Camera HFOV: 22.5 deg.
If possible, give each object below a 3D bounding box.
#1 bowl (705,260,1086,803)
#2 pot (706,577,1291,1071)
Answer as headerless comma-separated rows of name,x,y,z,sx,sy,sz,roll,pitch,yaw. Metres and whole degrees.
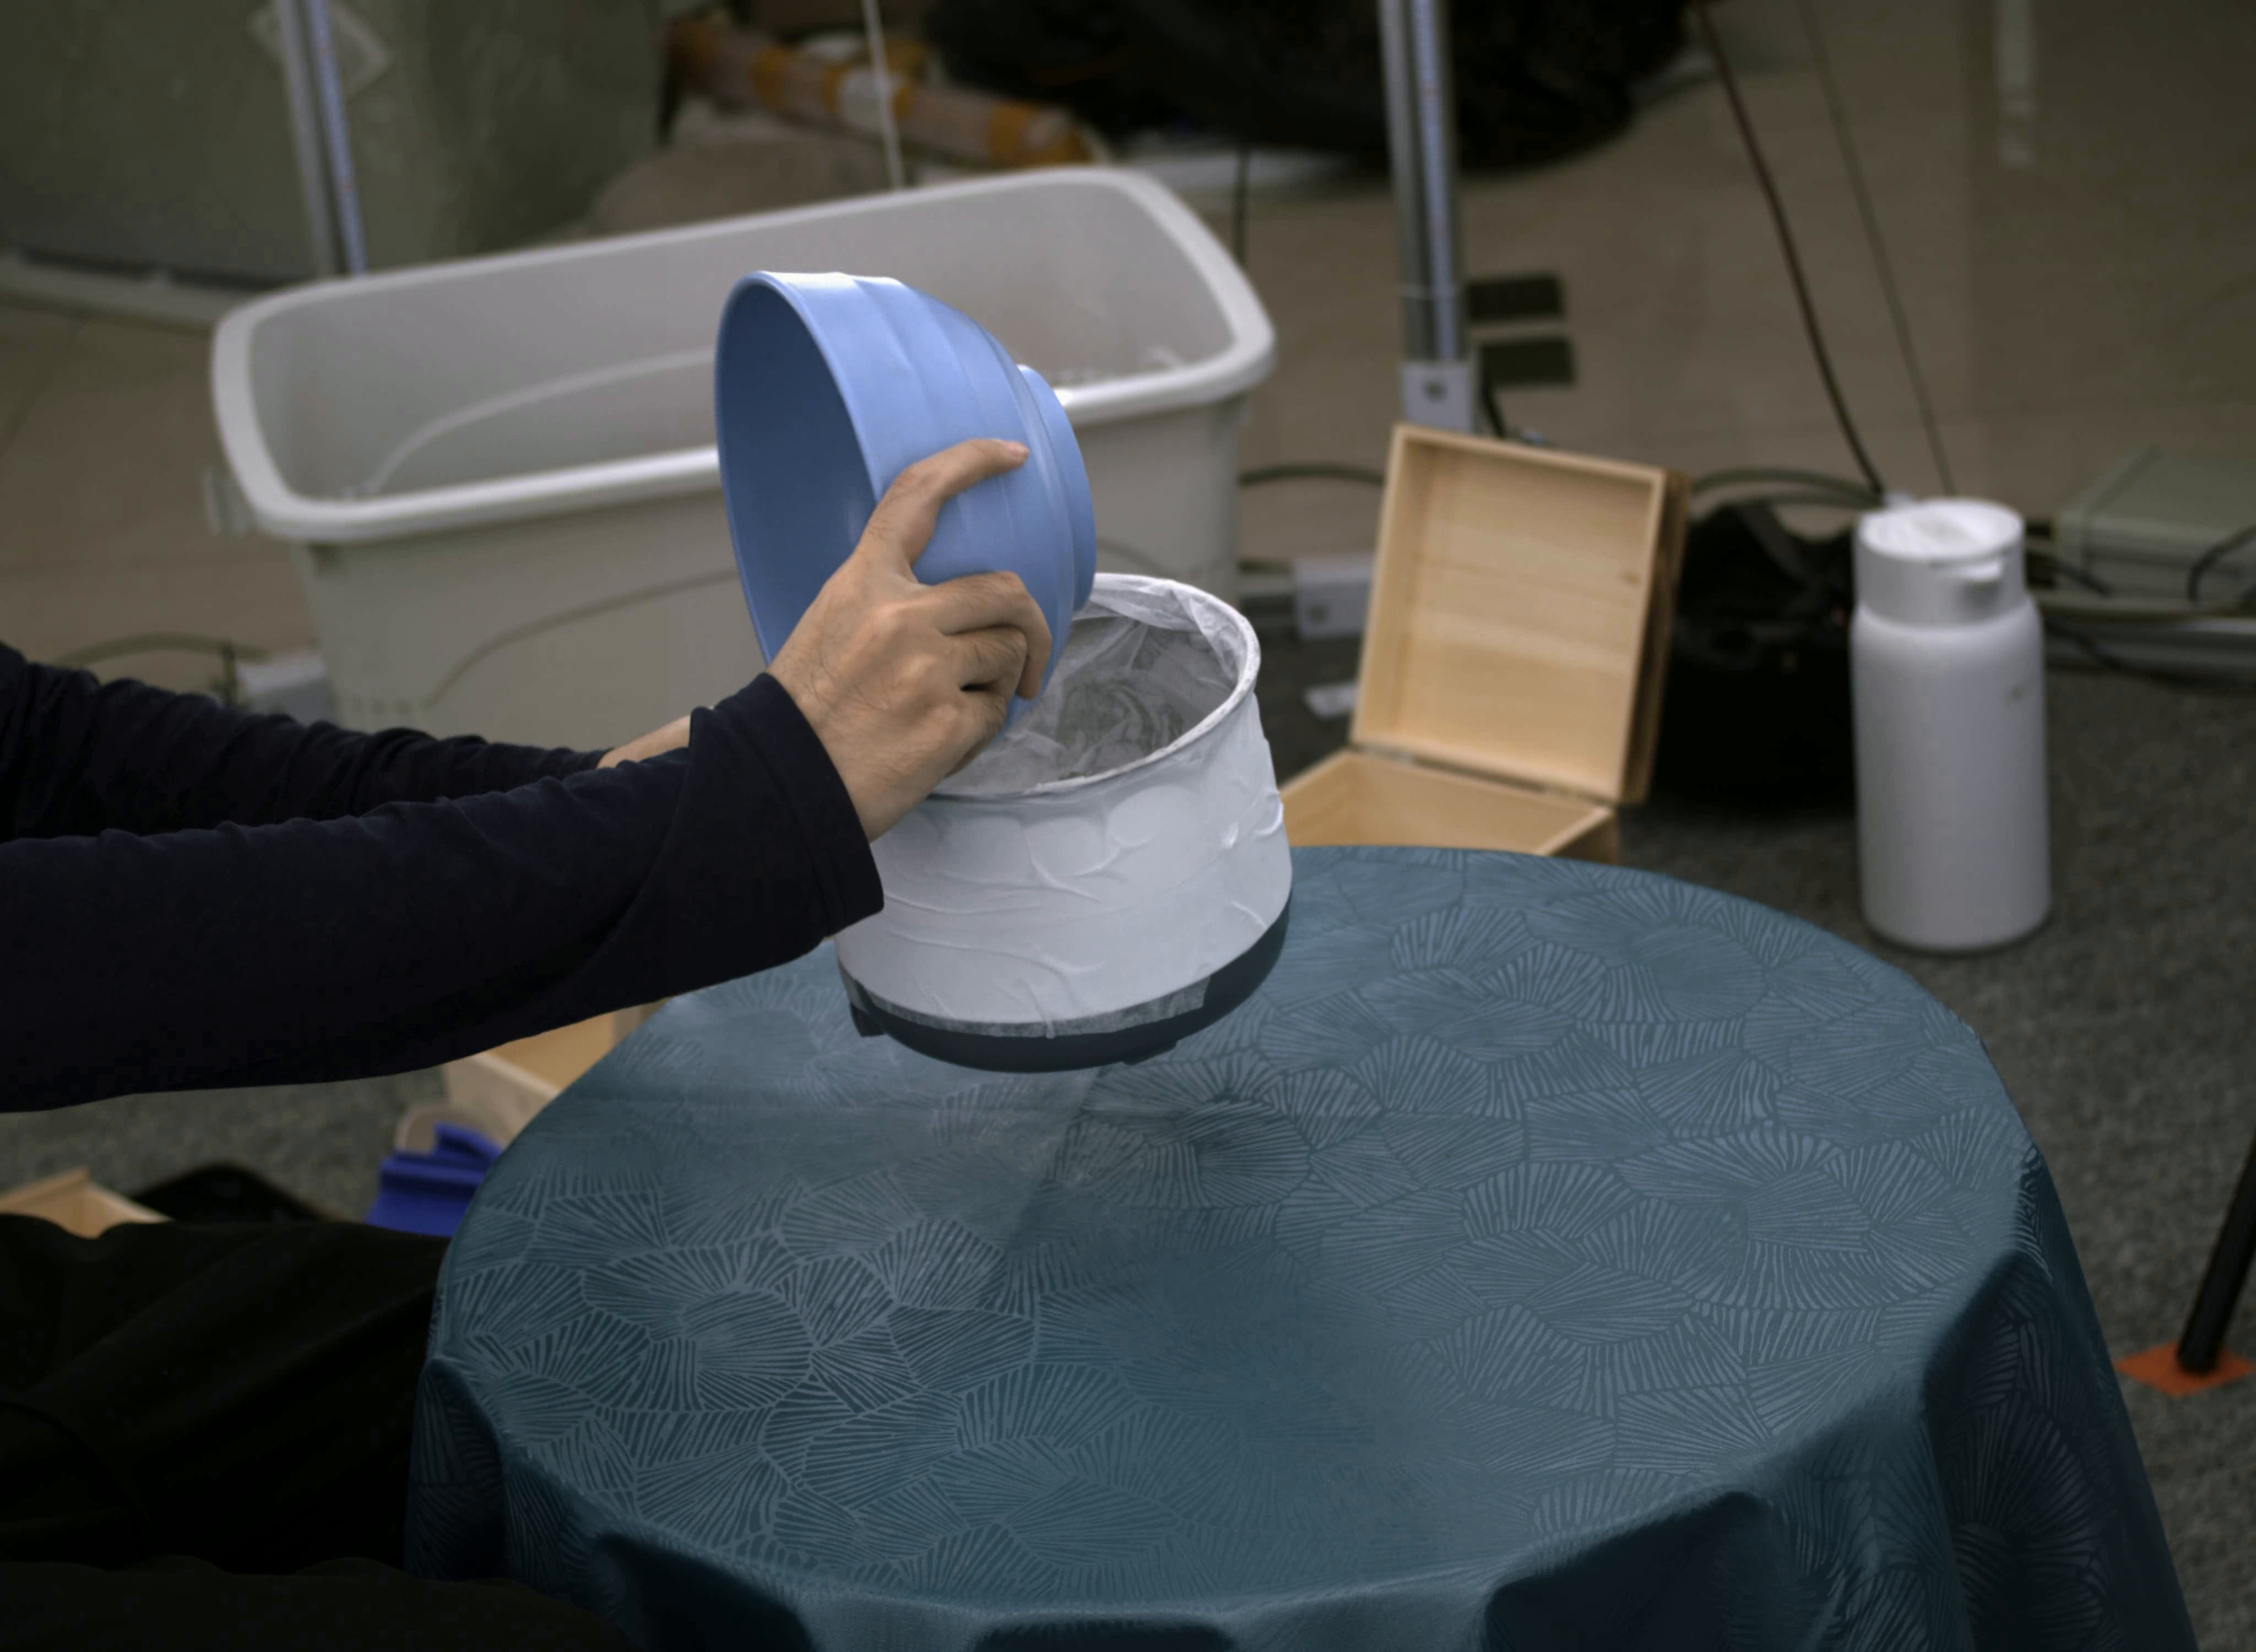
bowl,-0.075,-0.113,2.031,0.095,0.199,0.194,-12,26,-20
pot,-0.055,0.000,2.152,0.233,0.139,0.176,3,29,19
